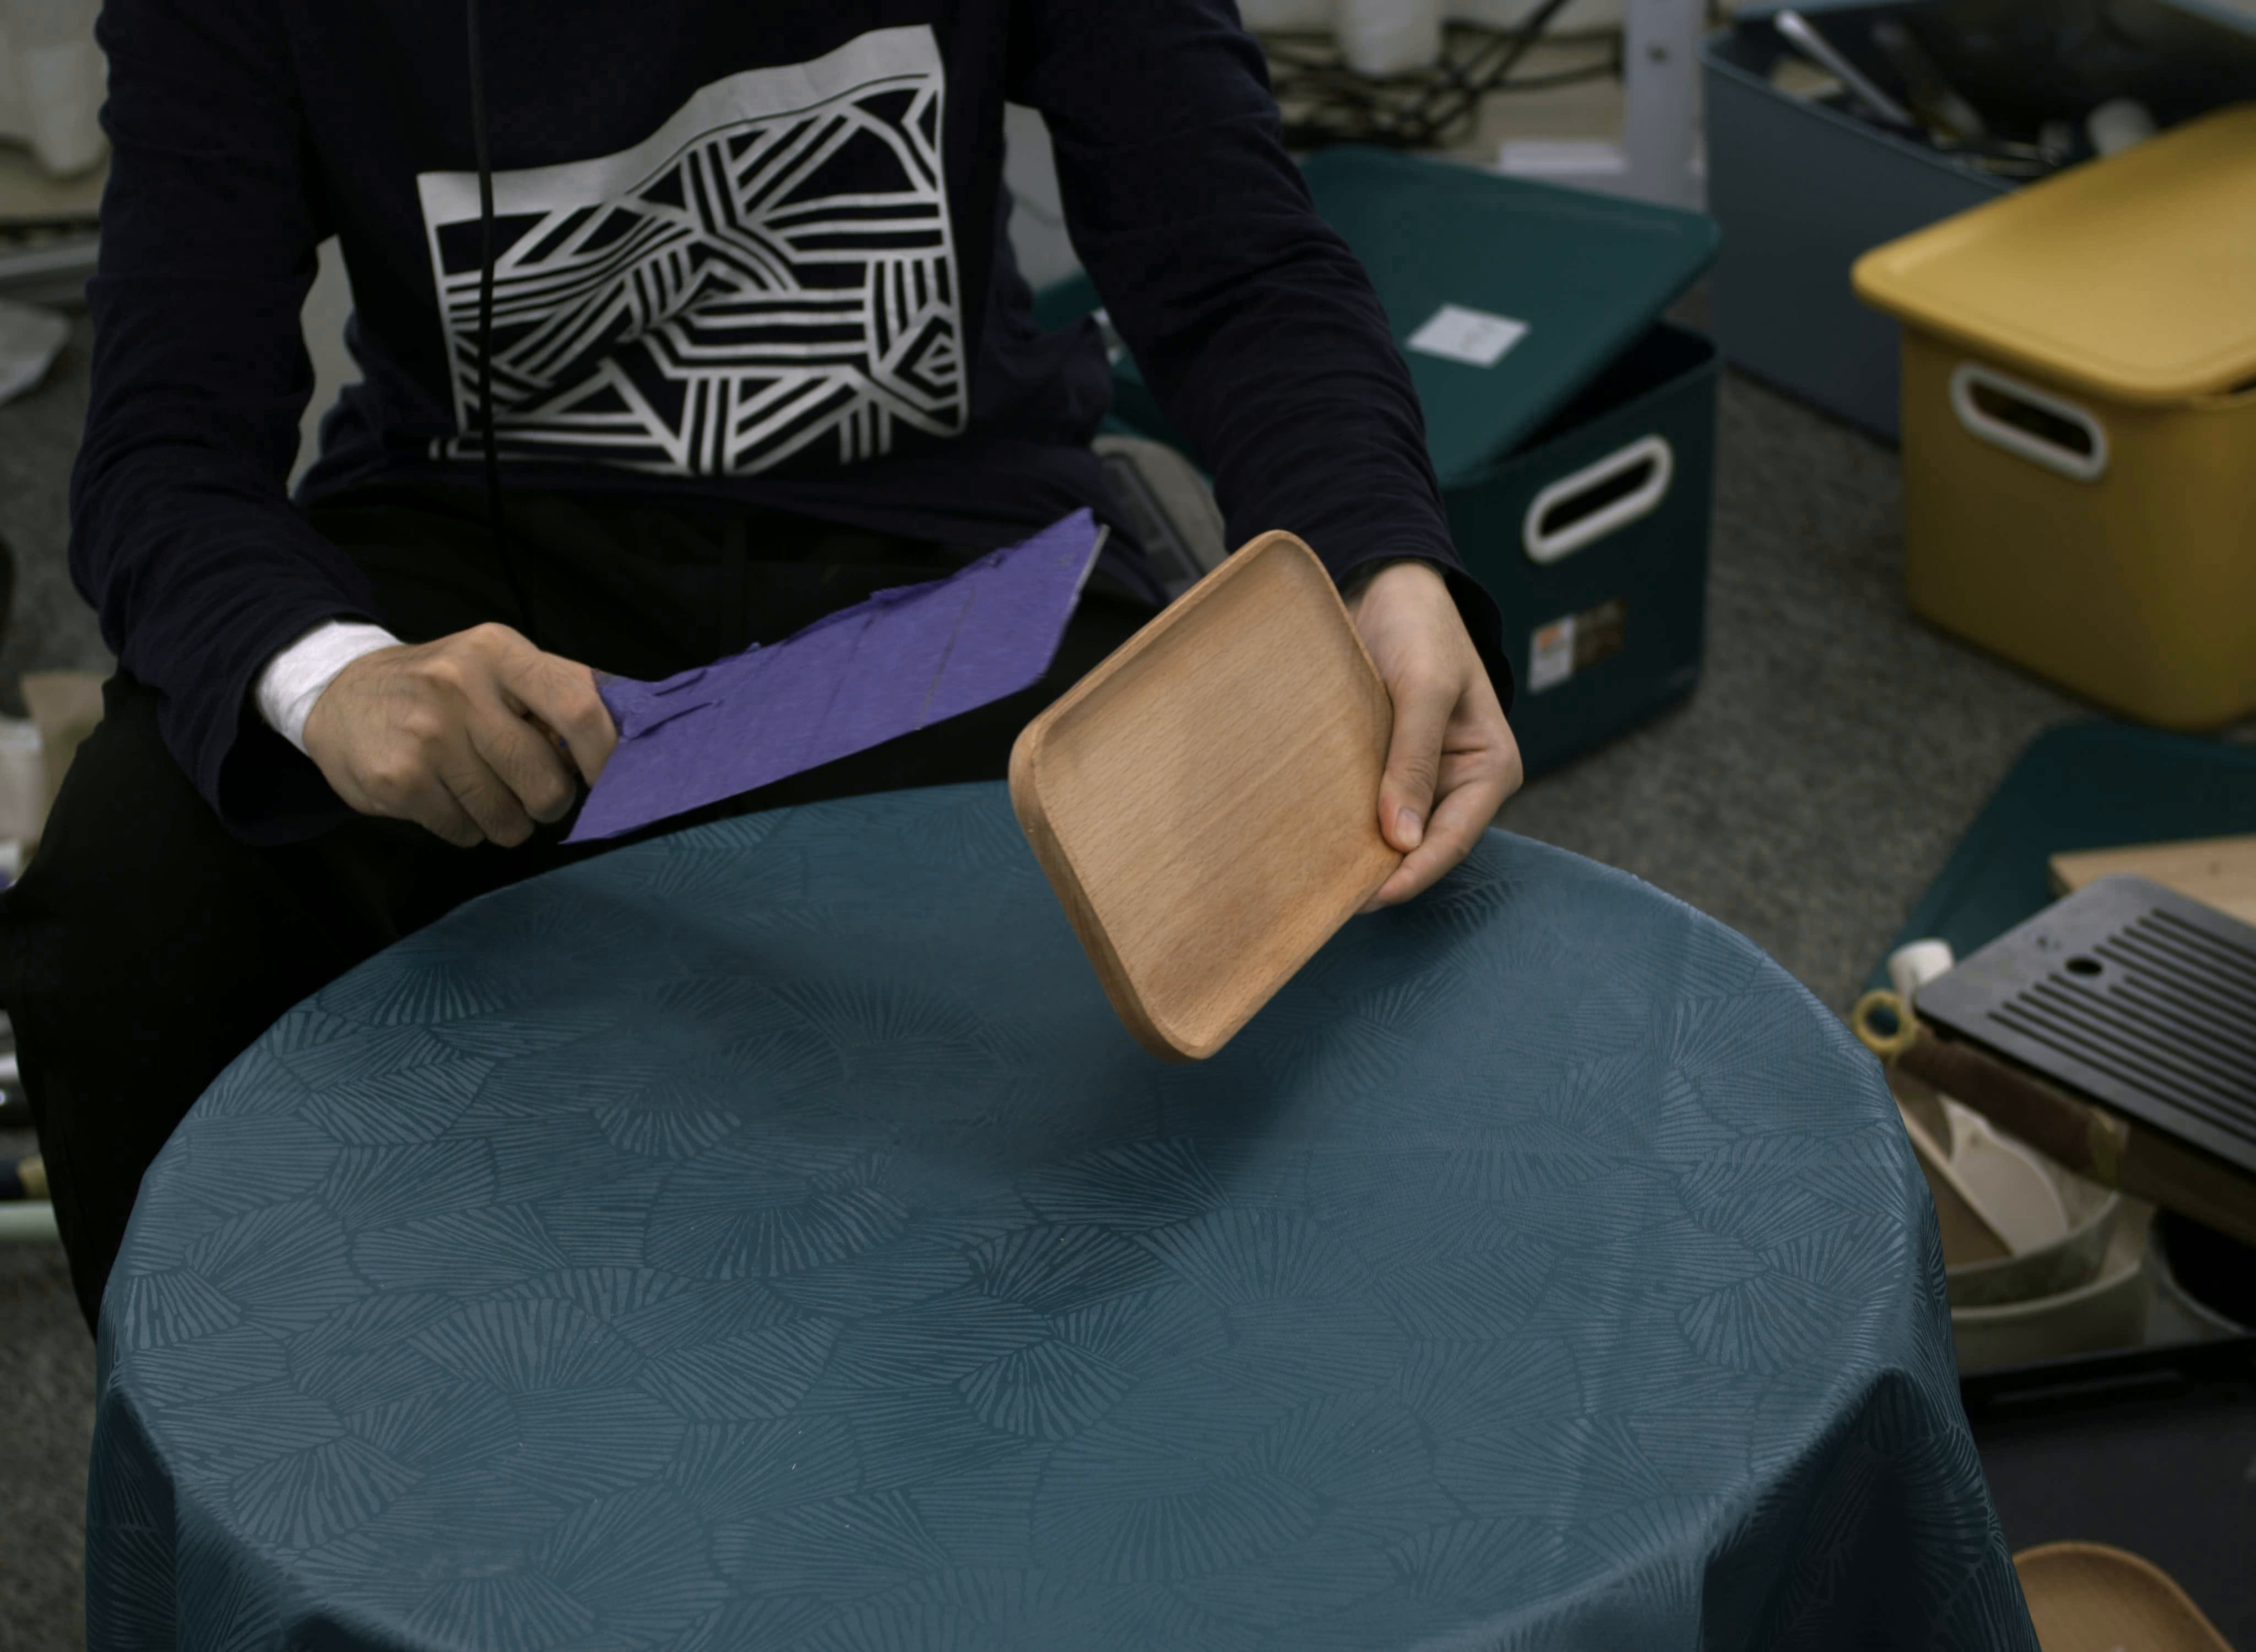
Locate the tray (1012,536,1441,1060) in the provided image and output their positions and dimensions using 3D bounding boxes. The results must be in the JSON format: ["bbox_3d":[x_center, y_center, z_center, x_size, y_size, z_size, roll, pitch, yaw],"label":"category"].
[{"bbox_3d":[0.036,-0.012,1.922,0.022,0.130,0.254,-20,8,29],"label":"tray"}]

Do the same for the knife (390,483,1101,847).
[{"bbox_3d":[-0.145,-0.038,1.931,0.311,0.032,0.106,-22,28,32],"label":"knife"}]
